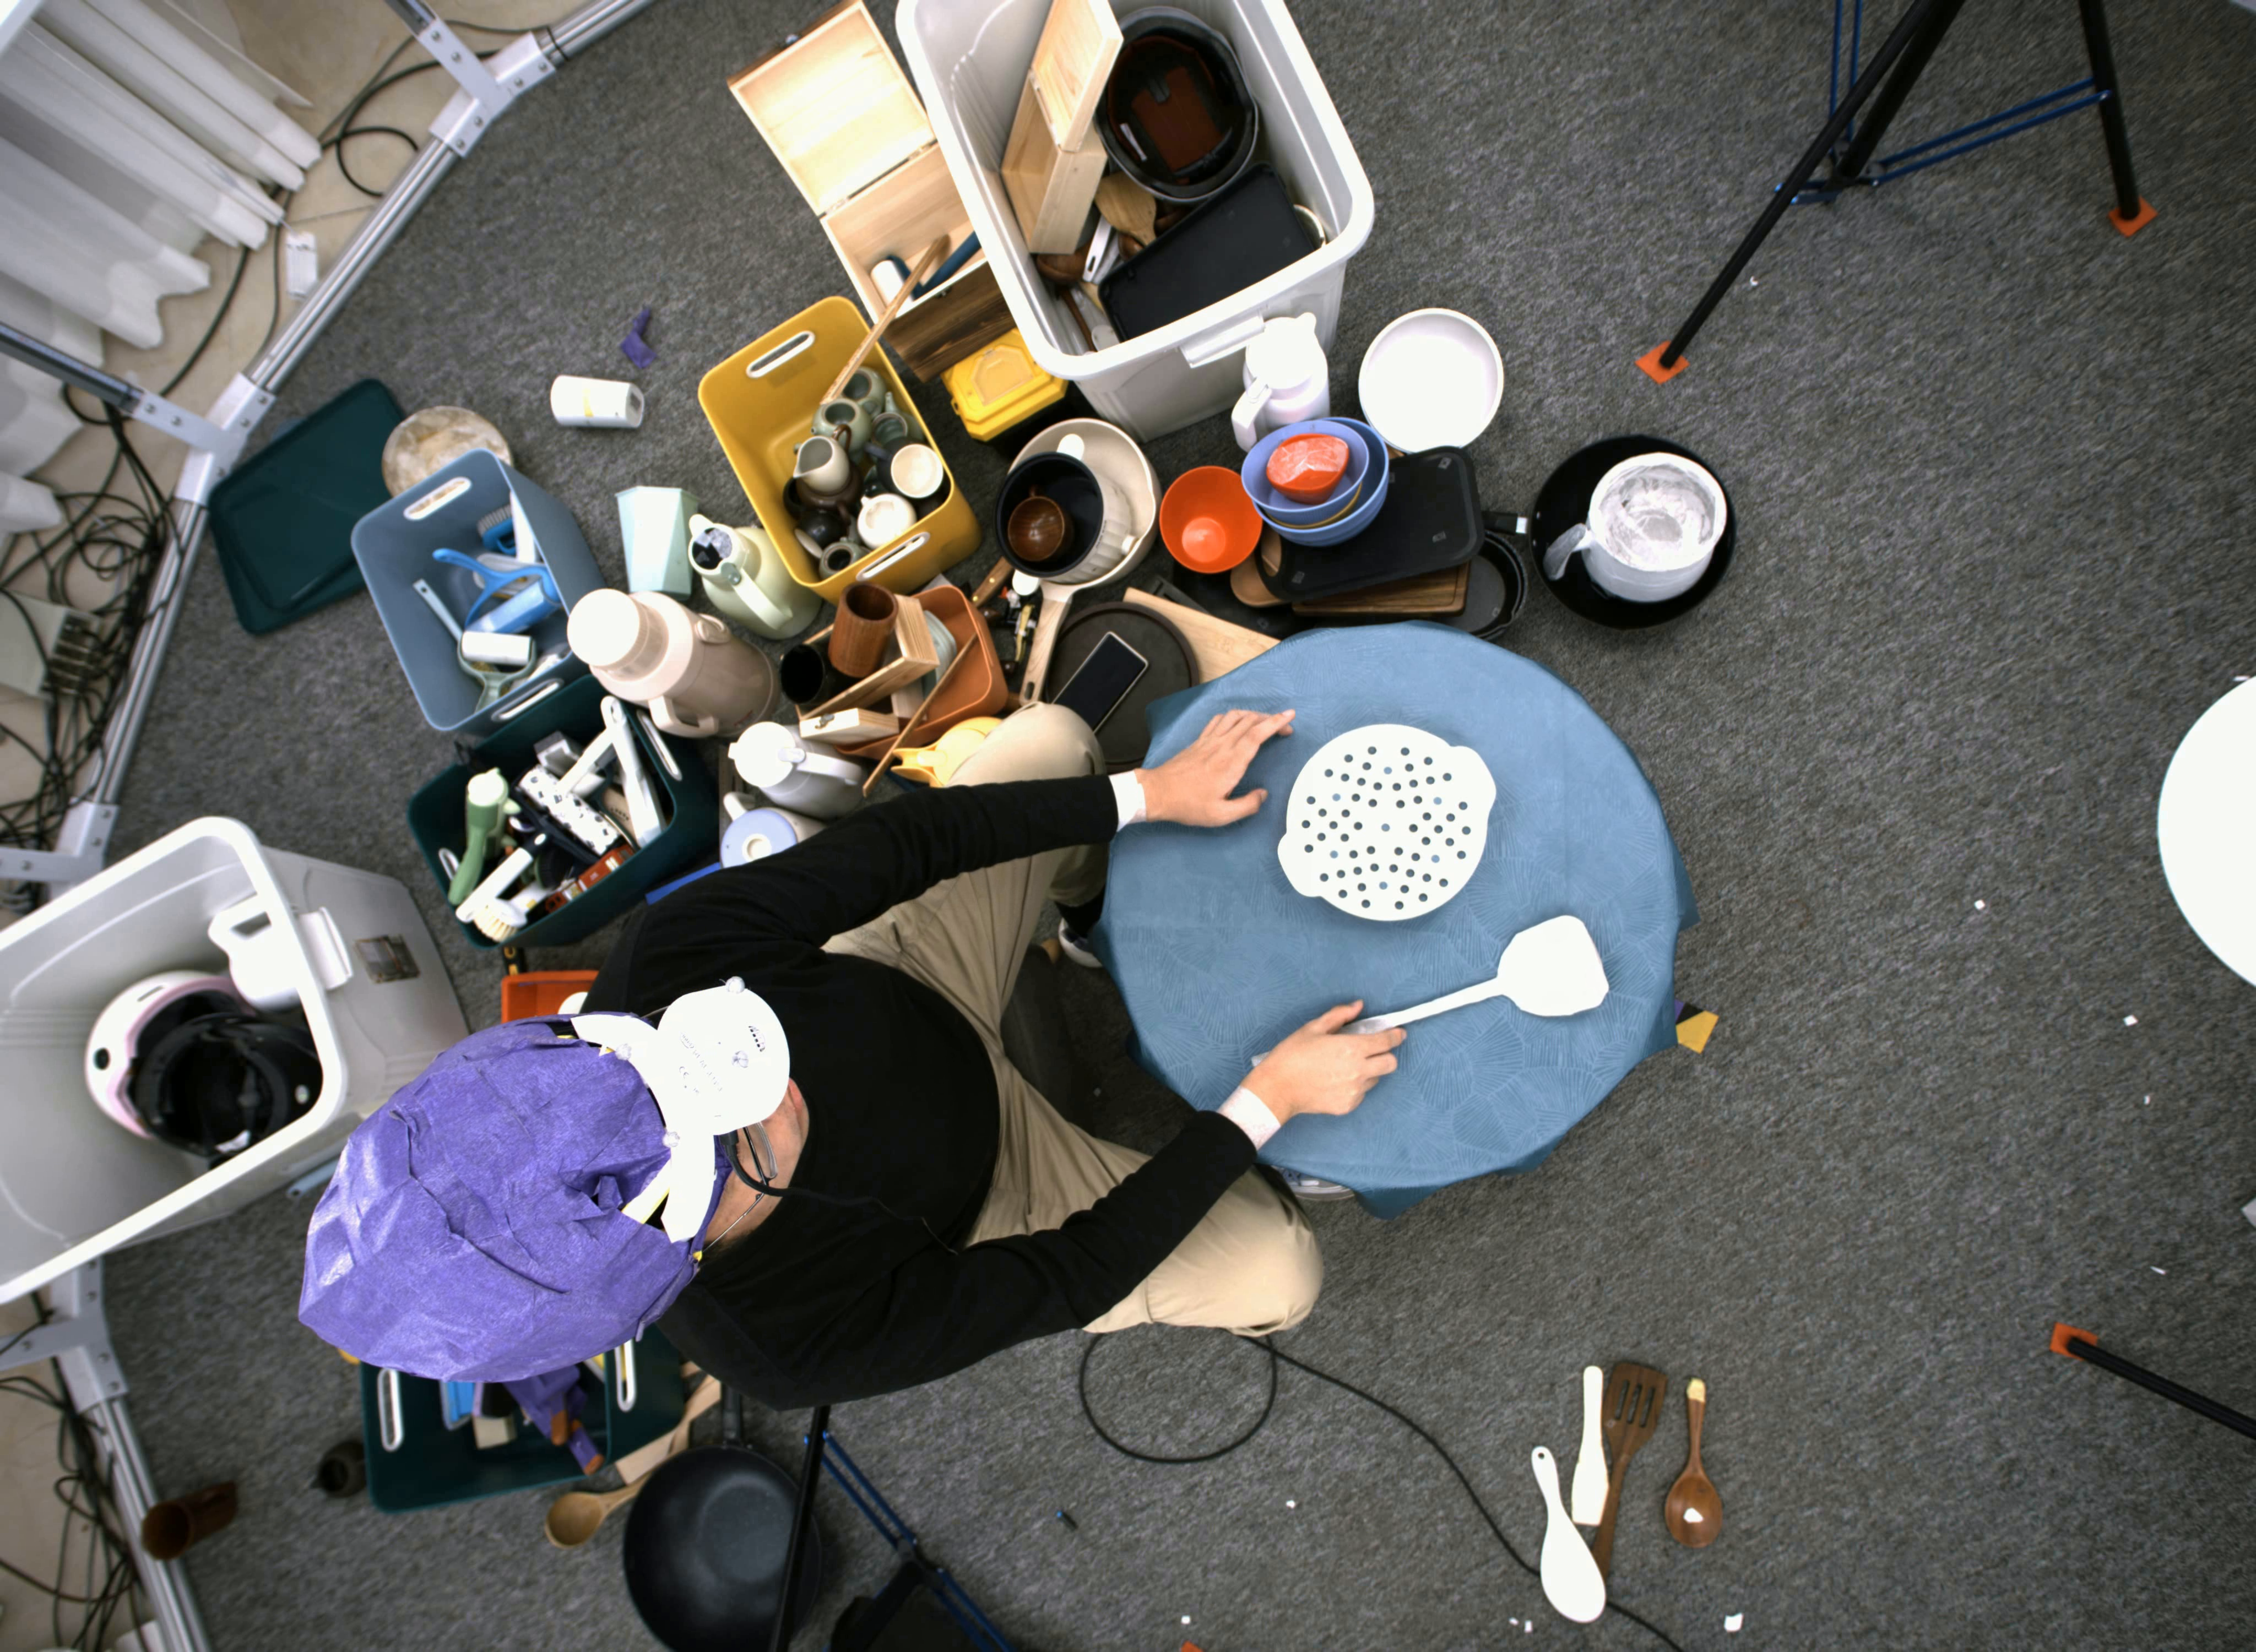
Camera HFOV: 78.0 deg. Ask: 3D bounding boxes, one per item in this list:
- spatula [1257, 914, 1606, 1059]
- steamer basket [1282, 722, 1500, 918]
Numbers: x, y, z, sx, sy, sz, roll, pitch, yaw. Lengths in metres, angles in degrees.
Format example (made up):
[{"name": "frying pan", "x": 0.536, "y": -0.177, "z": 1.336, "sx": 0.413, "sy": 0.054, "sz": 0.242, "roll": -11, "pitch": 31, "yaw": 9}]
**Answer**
[{"name": "spatula", "x": 0.308, "y": 0.184, "z": 1.428, "sx": 0.367, "sy": 0.045, "sz": 0.098, "roll": -19, "pitch": 84, "yaw": 9}, {"name": "steamer basket", "x": 0.272, "y": -0.005, "z": 1.429, "sx": 0.232, "sy": 0.069, "sz": 0.200, "roll": -28, "pitch": 81, "yaw": 9}]
